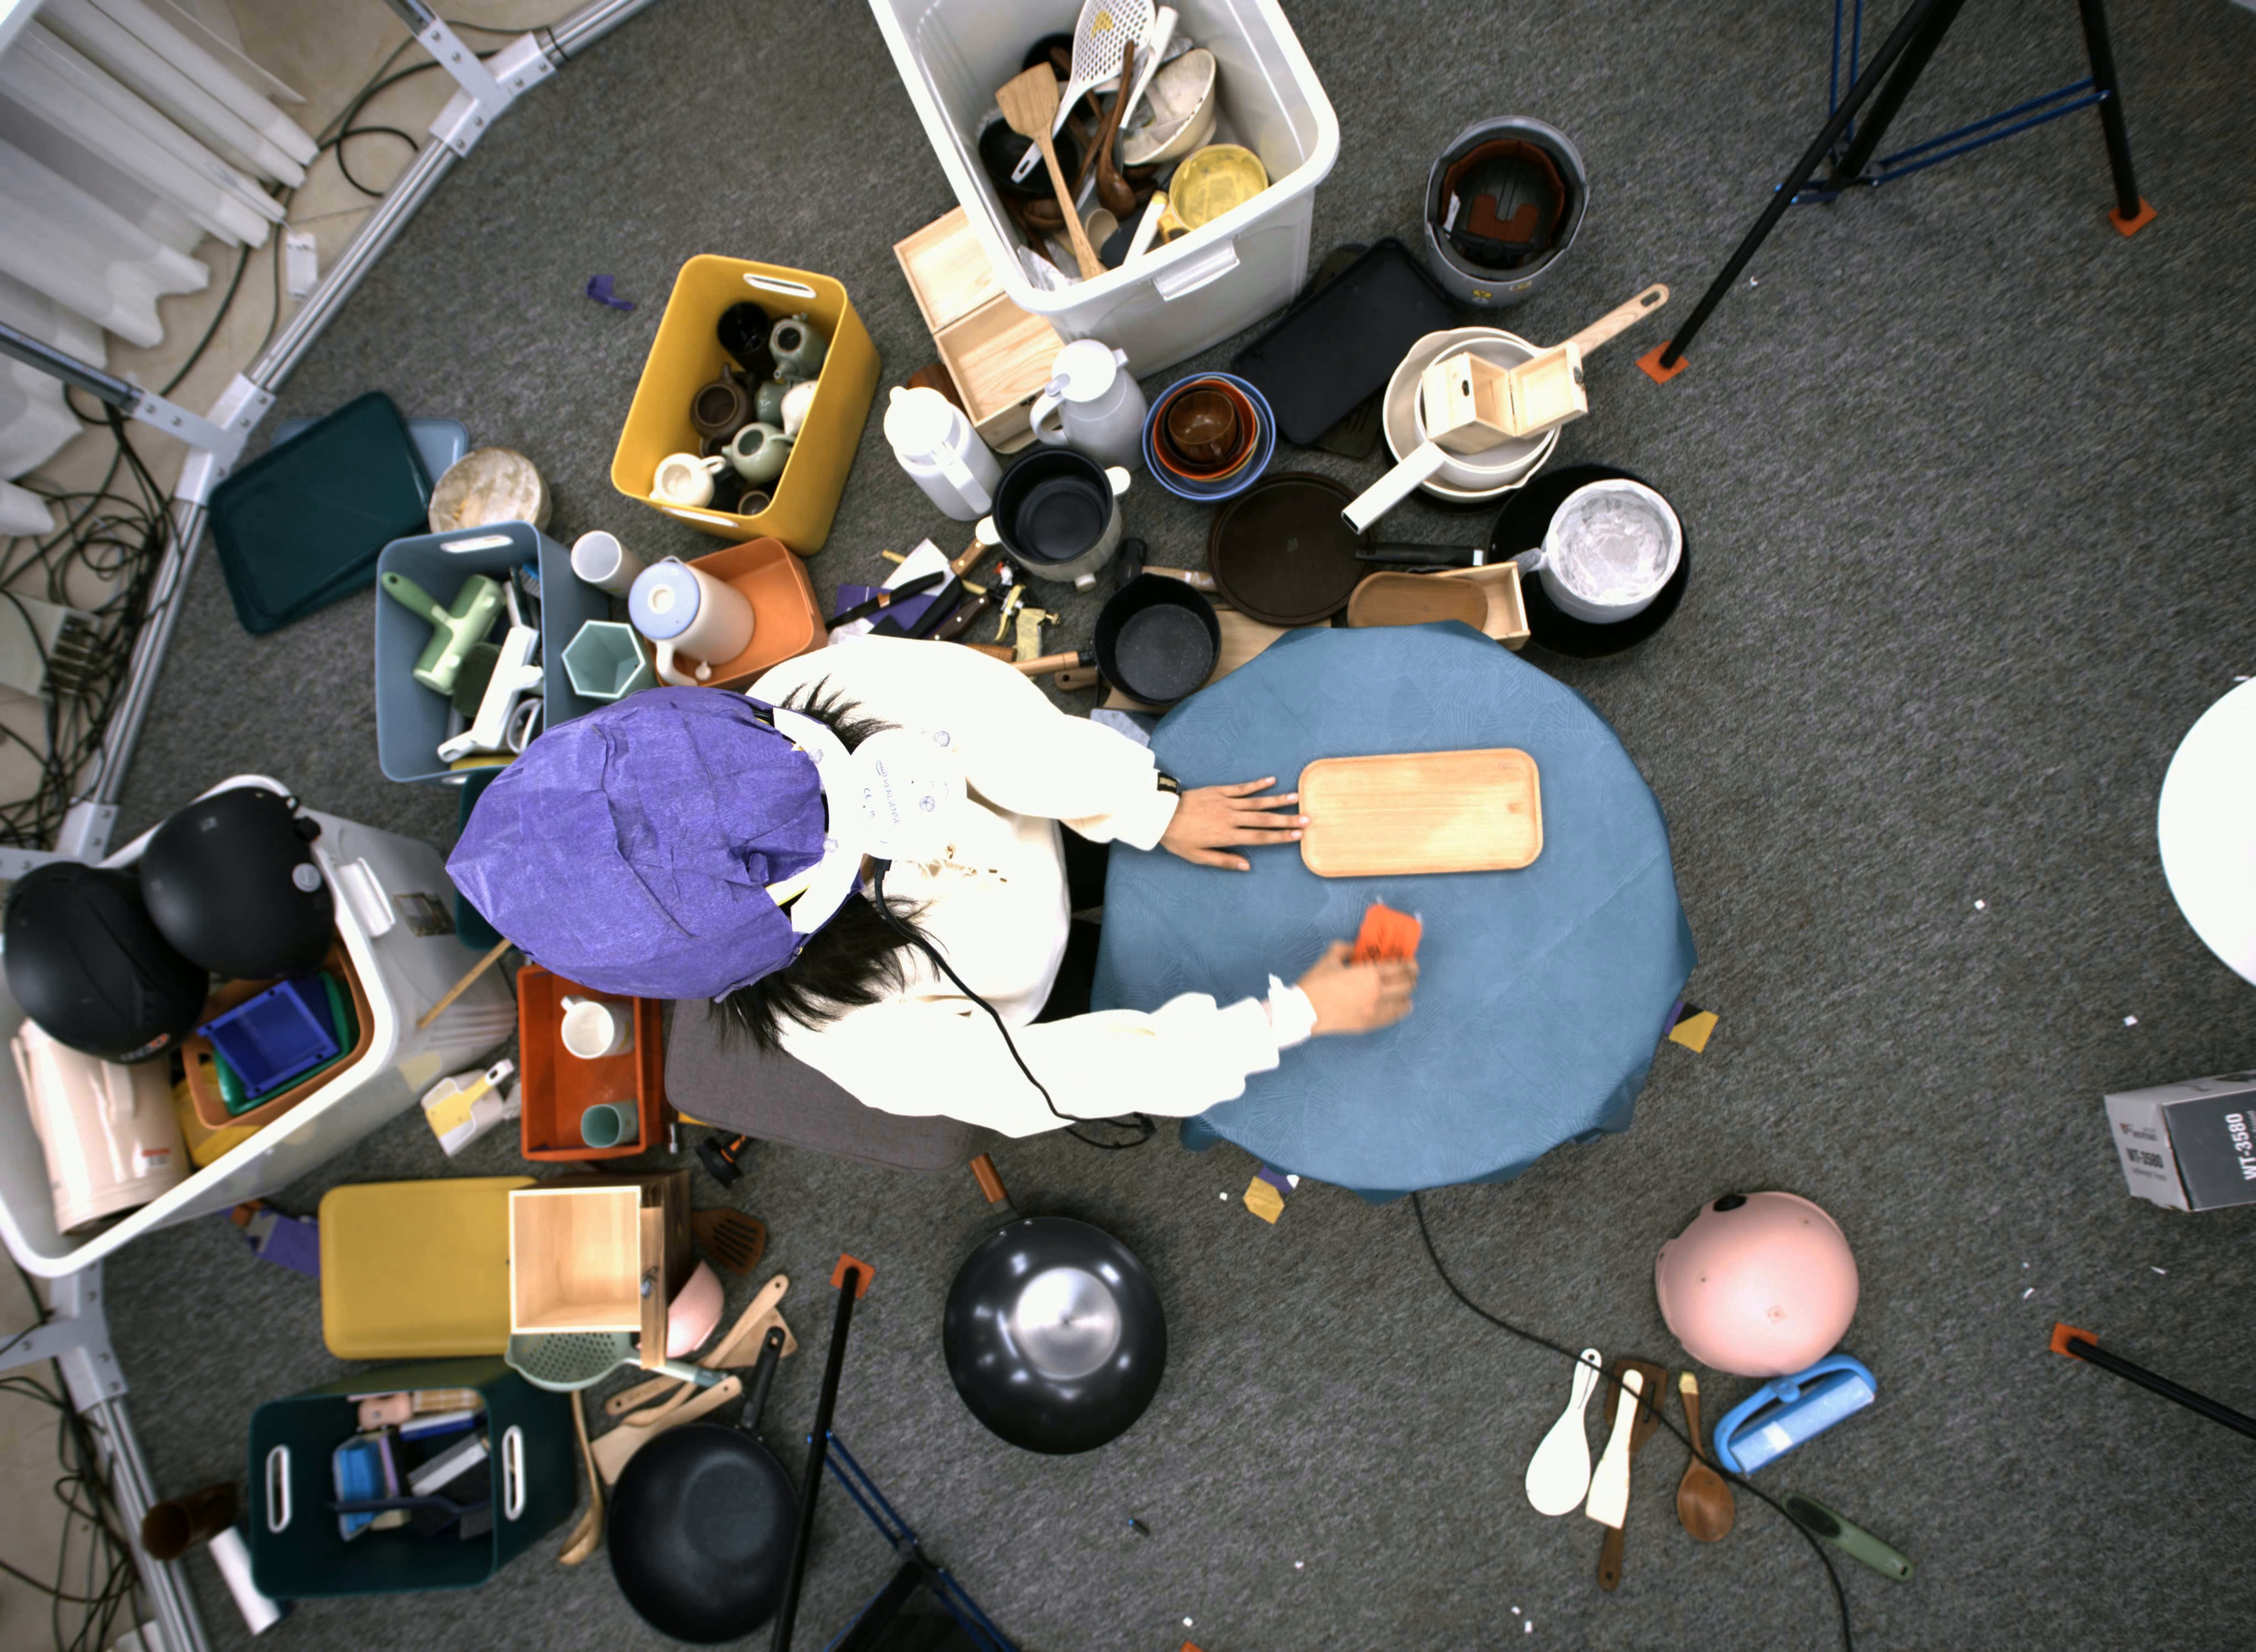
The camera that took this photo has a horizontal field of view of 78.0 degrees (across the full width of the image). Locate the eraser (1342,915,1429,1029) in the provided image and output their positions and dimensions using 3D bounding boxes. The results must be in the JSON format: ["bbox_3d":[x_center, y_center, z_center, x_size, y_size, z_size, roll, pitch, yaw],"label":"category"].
[{"bbox_3d":[0.264,0.148,1.419,0.059,0.022,0.109,23,104,16],"label":"eraser"}]

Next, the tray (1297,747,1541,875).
[{"bbox_3d":[0.305,-0.016,1.449,0.252,0.023,0.129,-2,84,11],"label":"tray"}]
